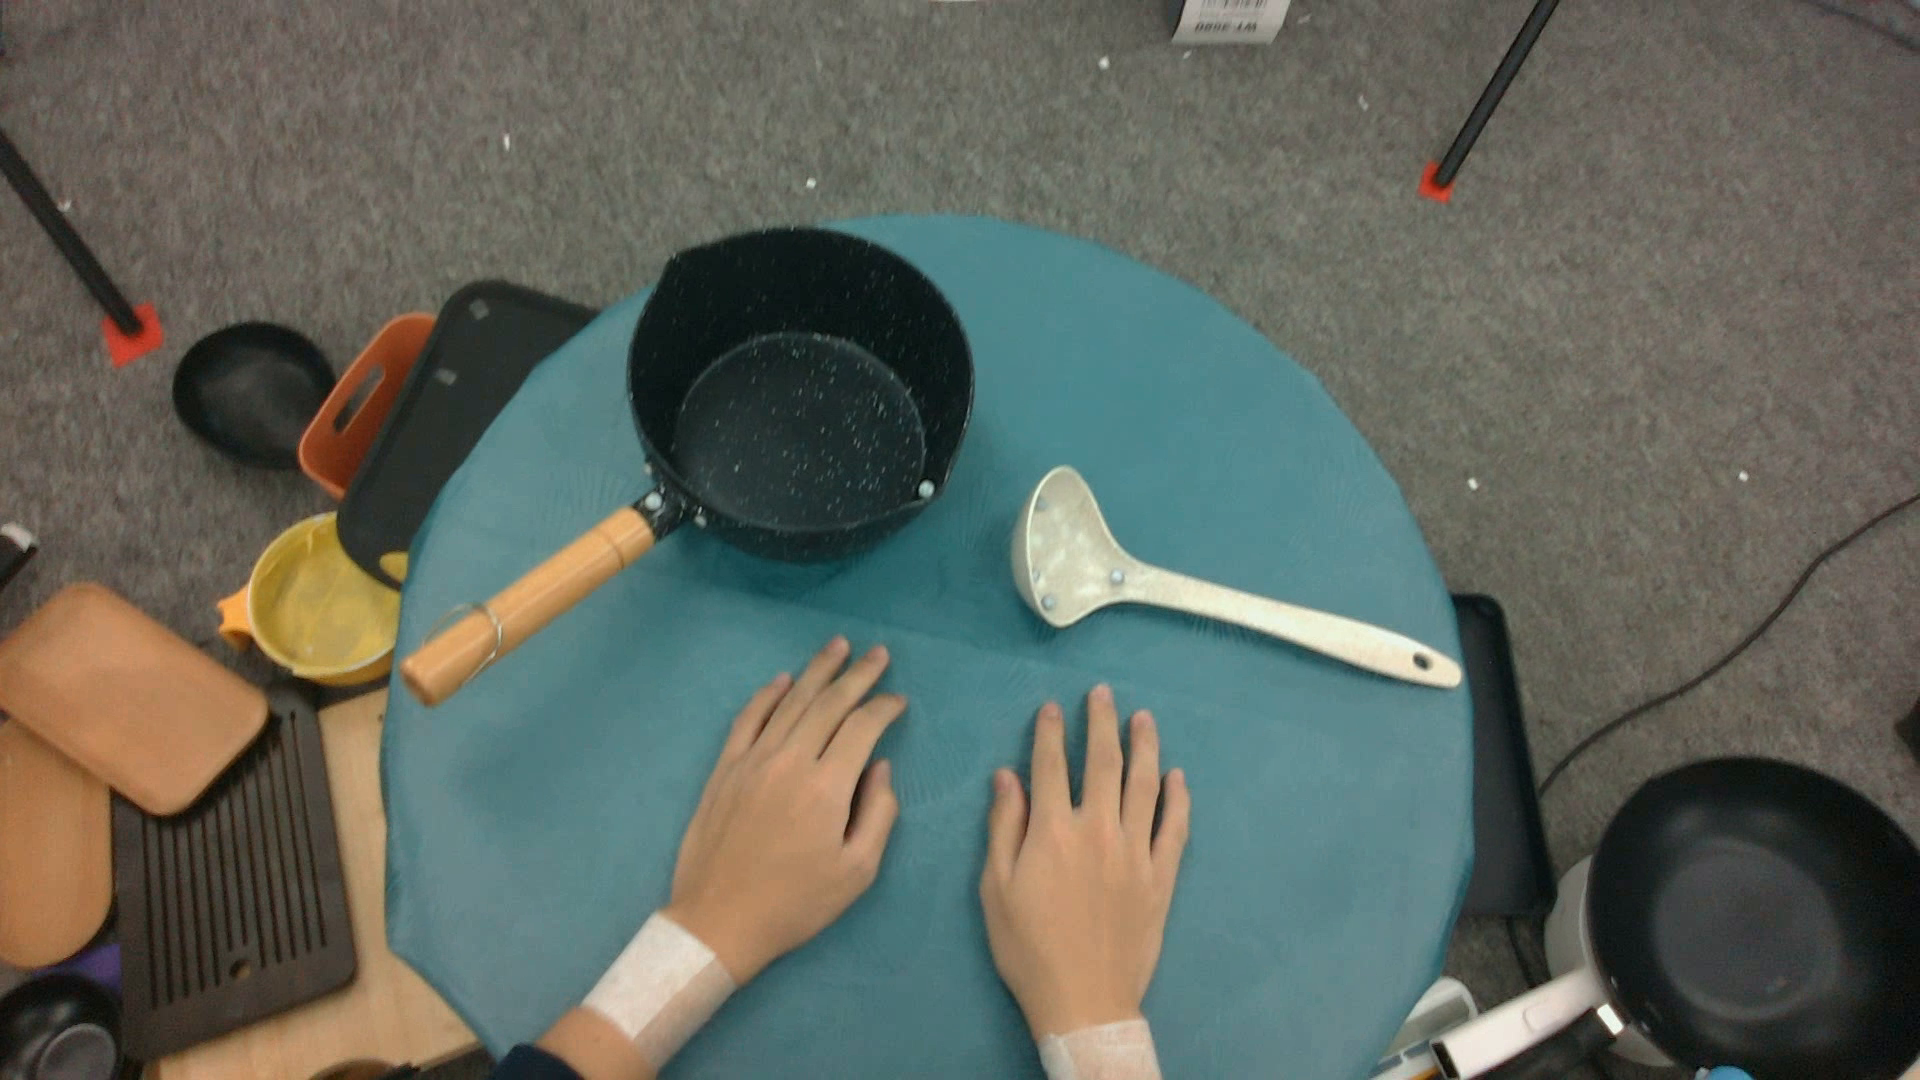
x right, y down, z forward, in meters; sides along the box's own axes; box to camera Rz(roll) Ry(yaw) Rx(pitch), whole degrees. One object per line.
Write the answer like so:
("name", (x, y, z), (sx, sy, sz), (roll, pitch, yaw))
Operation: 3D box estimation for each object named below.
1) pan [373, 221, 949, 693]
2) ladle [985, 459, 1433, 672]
("pan", (-0.152, -0.028, 0.725), (0.207, 0.108, 0.344), (40, 65, 9))
("ladle", (0.147, 0.024, 0.770), (0.275, 0.069, 0.090), (14, 60, -2))
